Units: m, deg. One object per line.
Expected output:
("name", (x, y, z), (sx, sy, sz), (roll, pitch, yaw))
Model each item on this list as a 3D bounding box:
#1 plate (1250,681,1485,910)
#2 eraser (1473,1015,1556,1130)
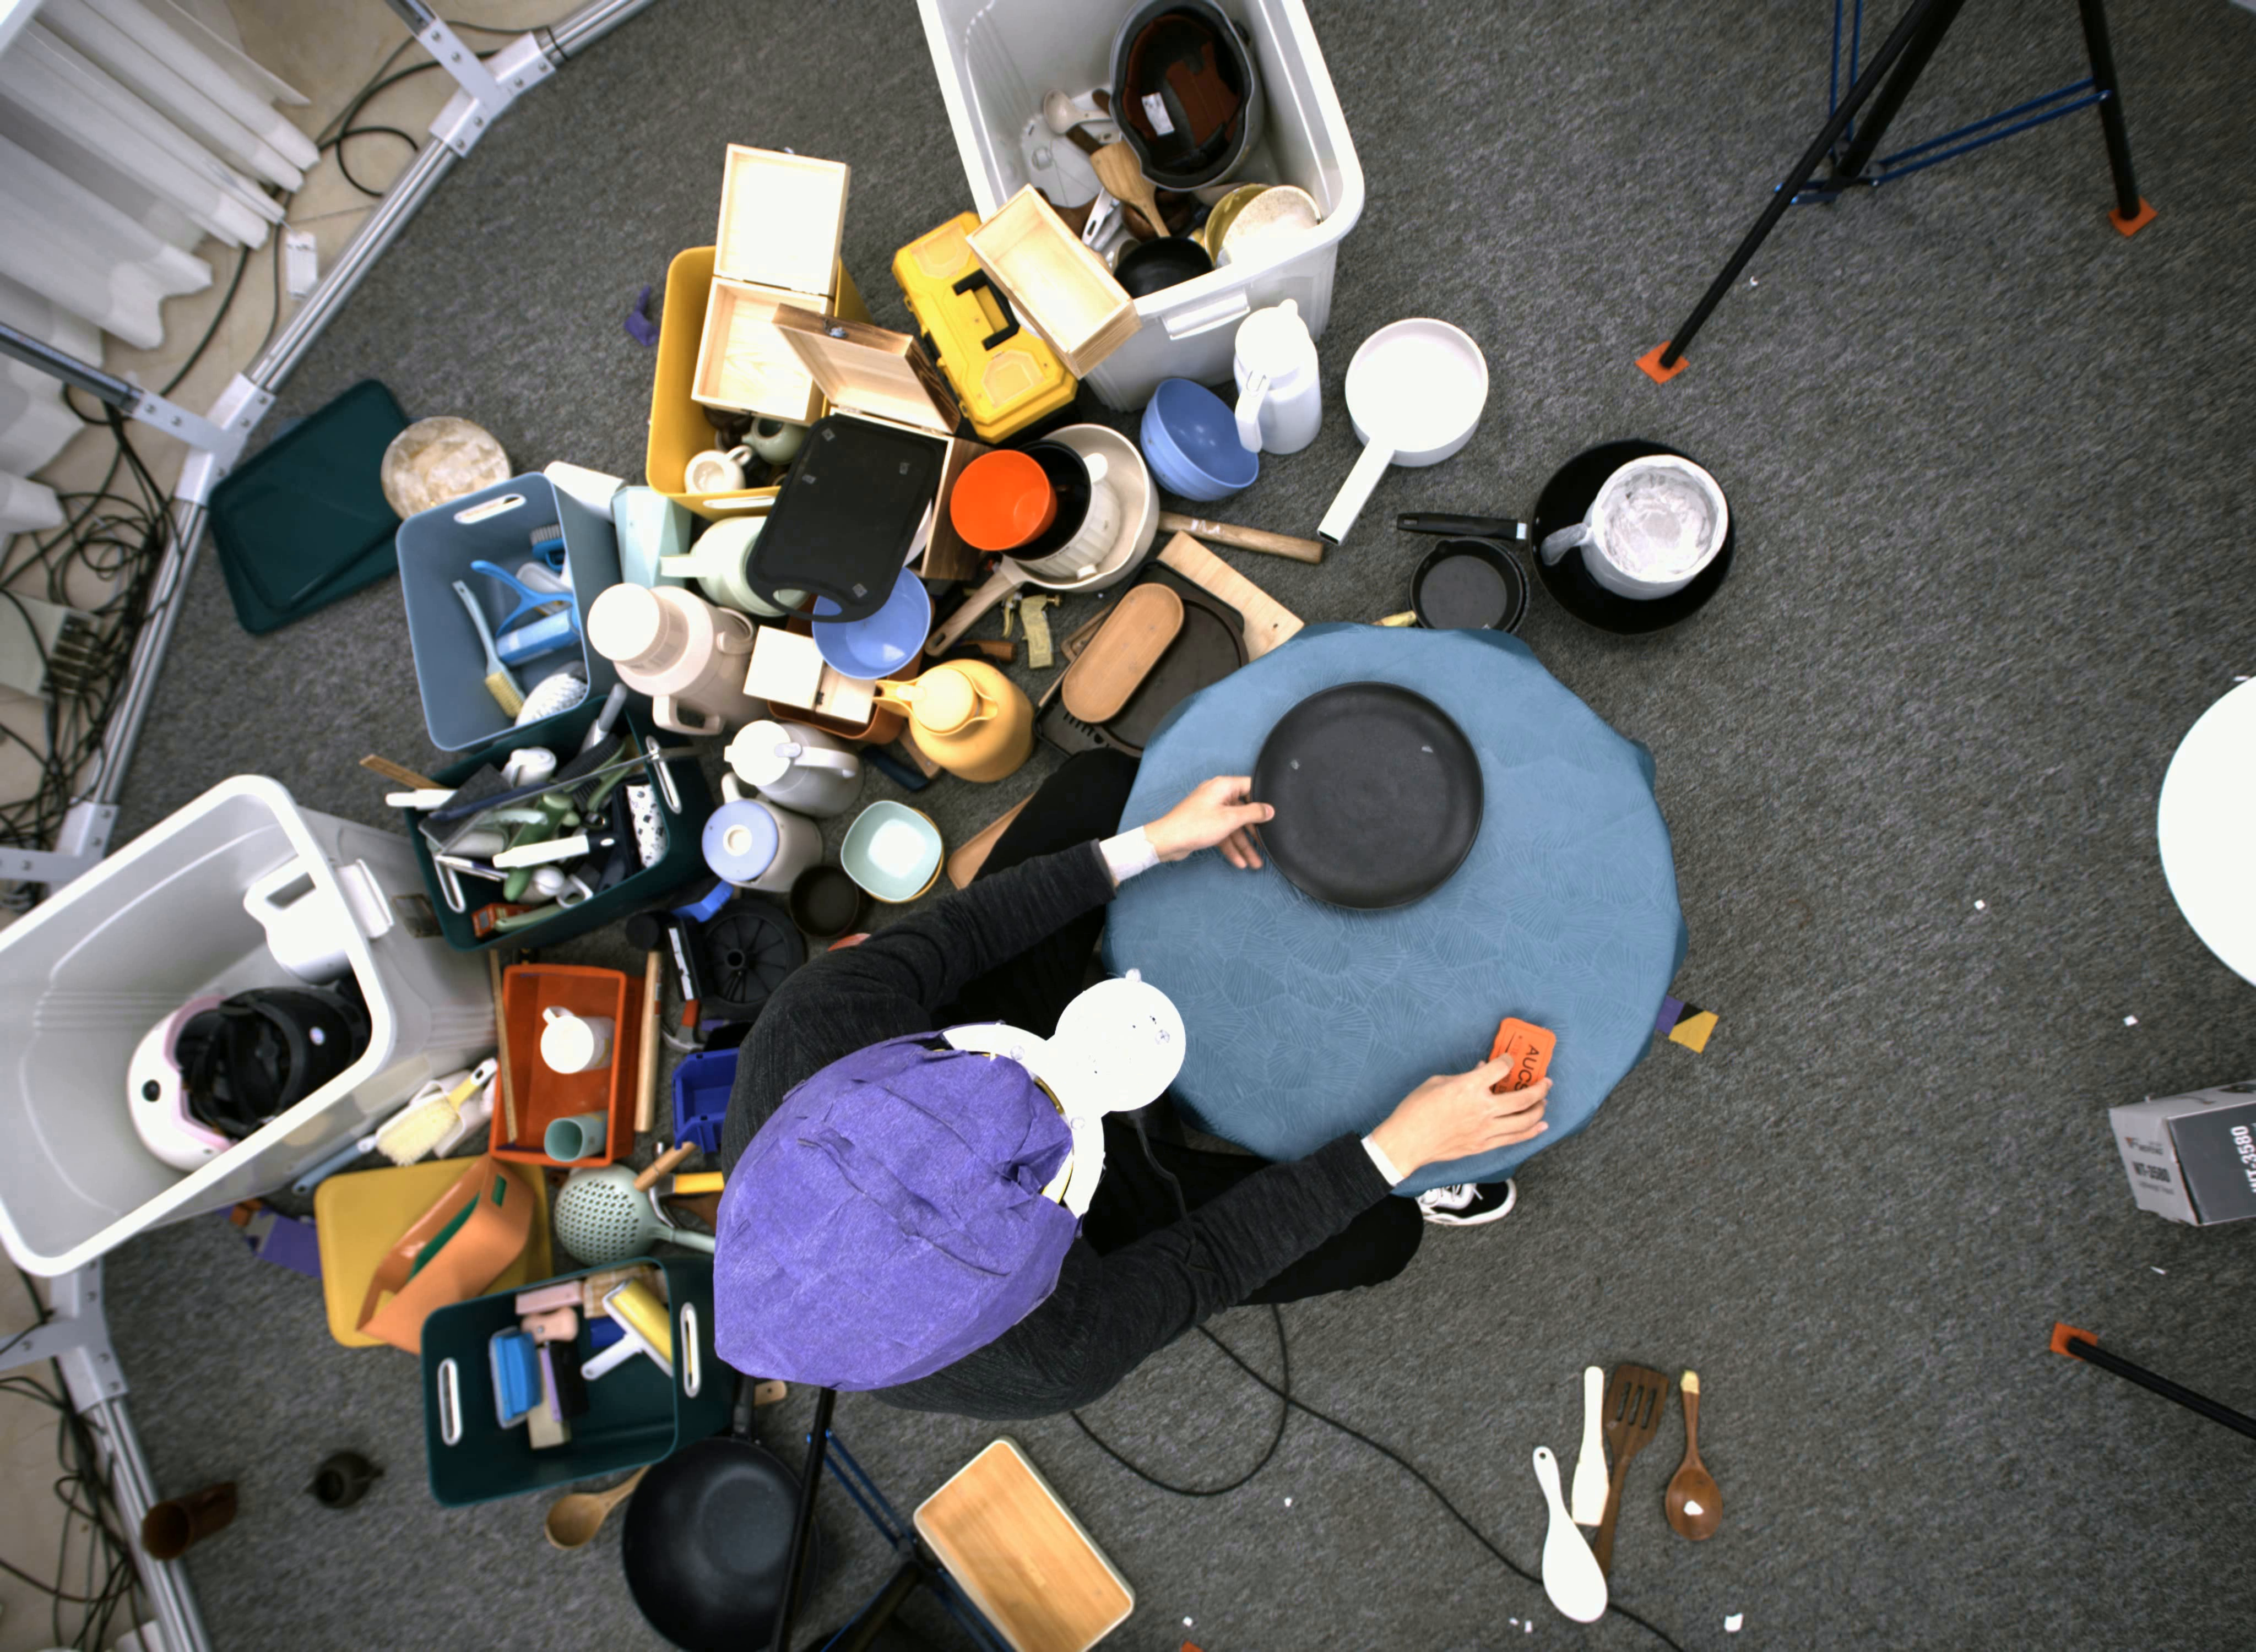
("plate", (0.251, -0.033, 1.455), (0.245, 0.023, 0.243), (-1, 88, 8))
("eraser", (0.396, 0.249, 1.412), (0.059, 0.023, 0.108), (19, 93, 17))
